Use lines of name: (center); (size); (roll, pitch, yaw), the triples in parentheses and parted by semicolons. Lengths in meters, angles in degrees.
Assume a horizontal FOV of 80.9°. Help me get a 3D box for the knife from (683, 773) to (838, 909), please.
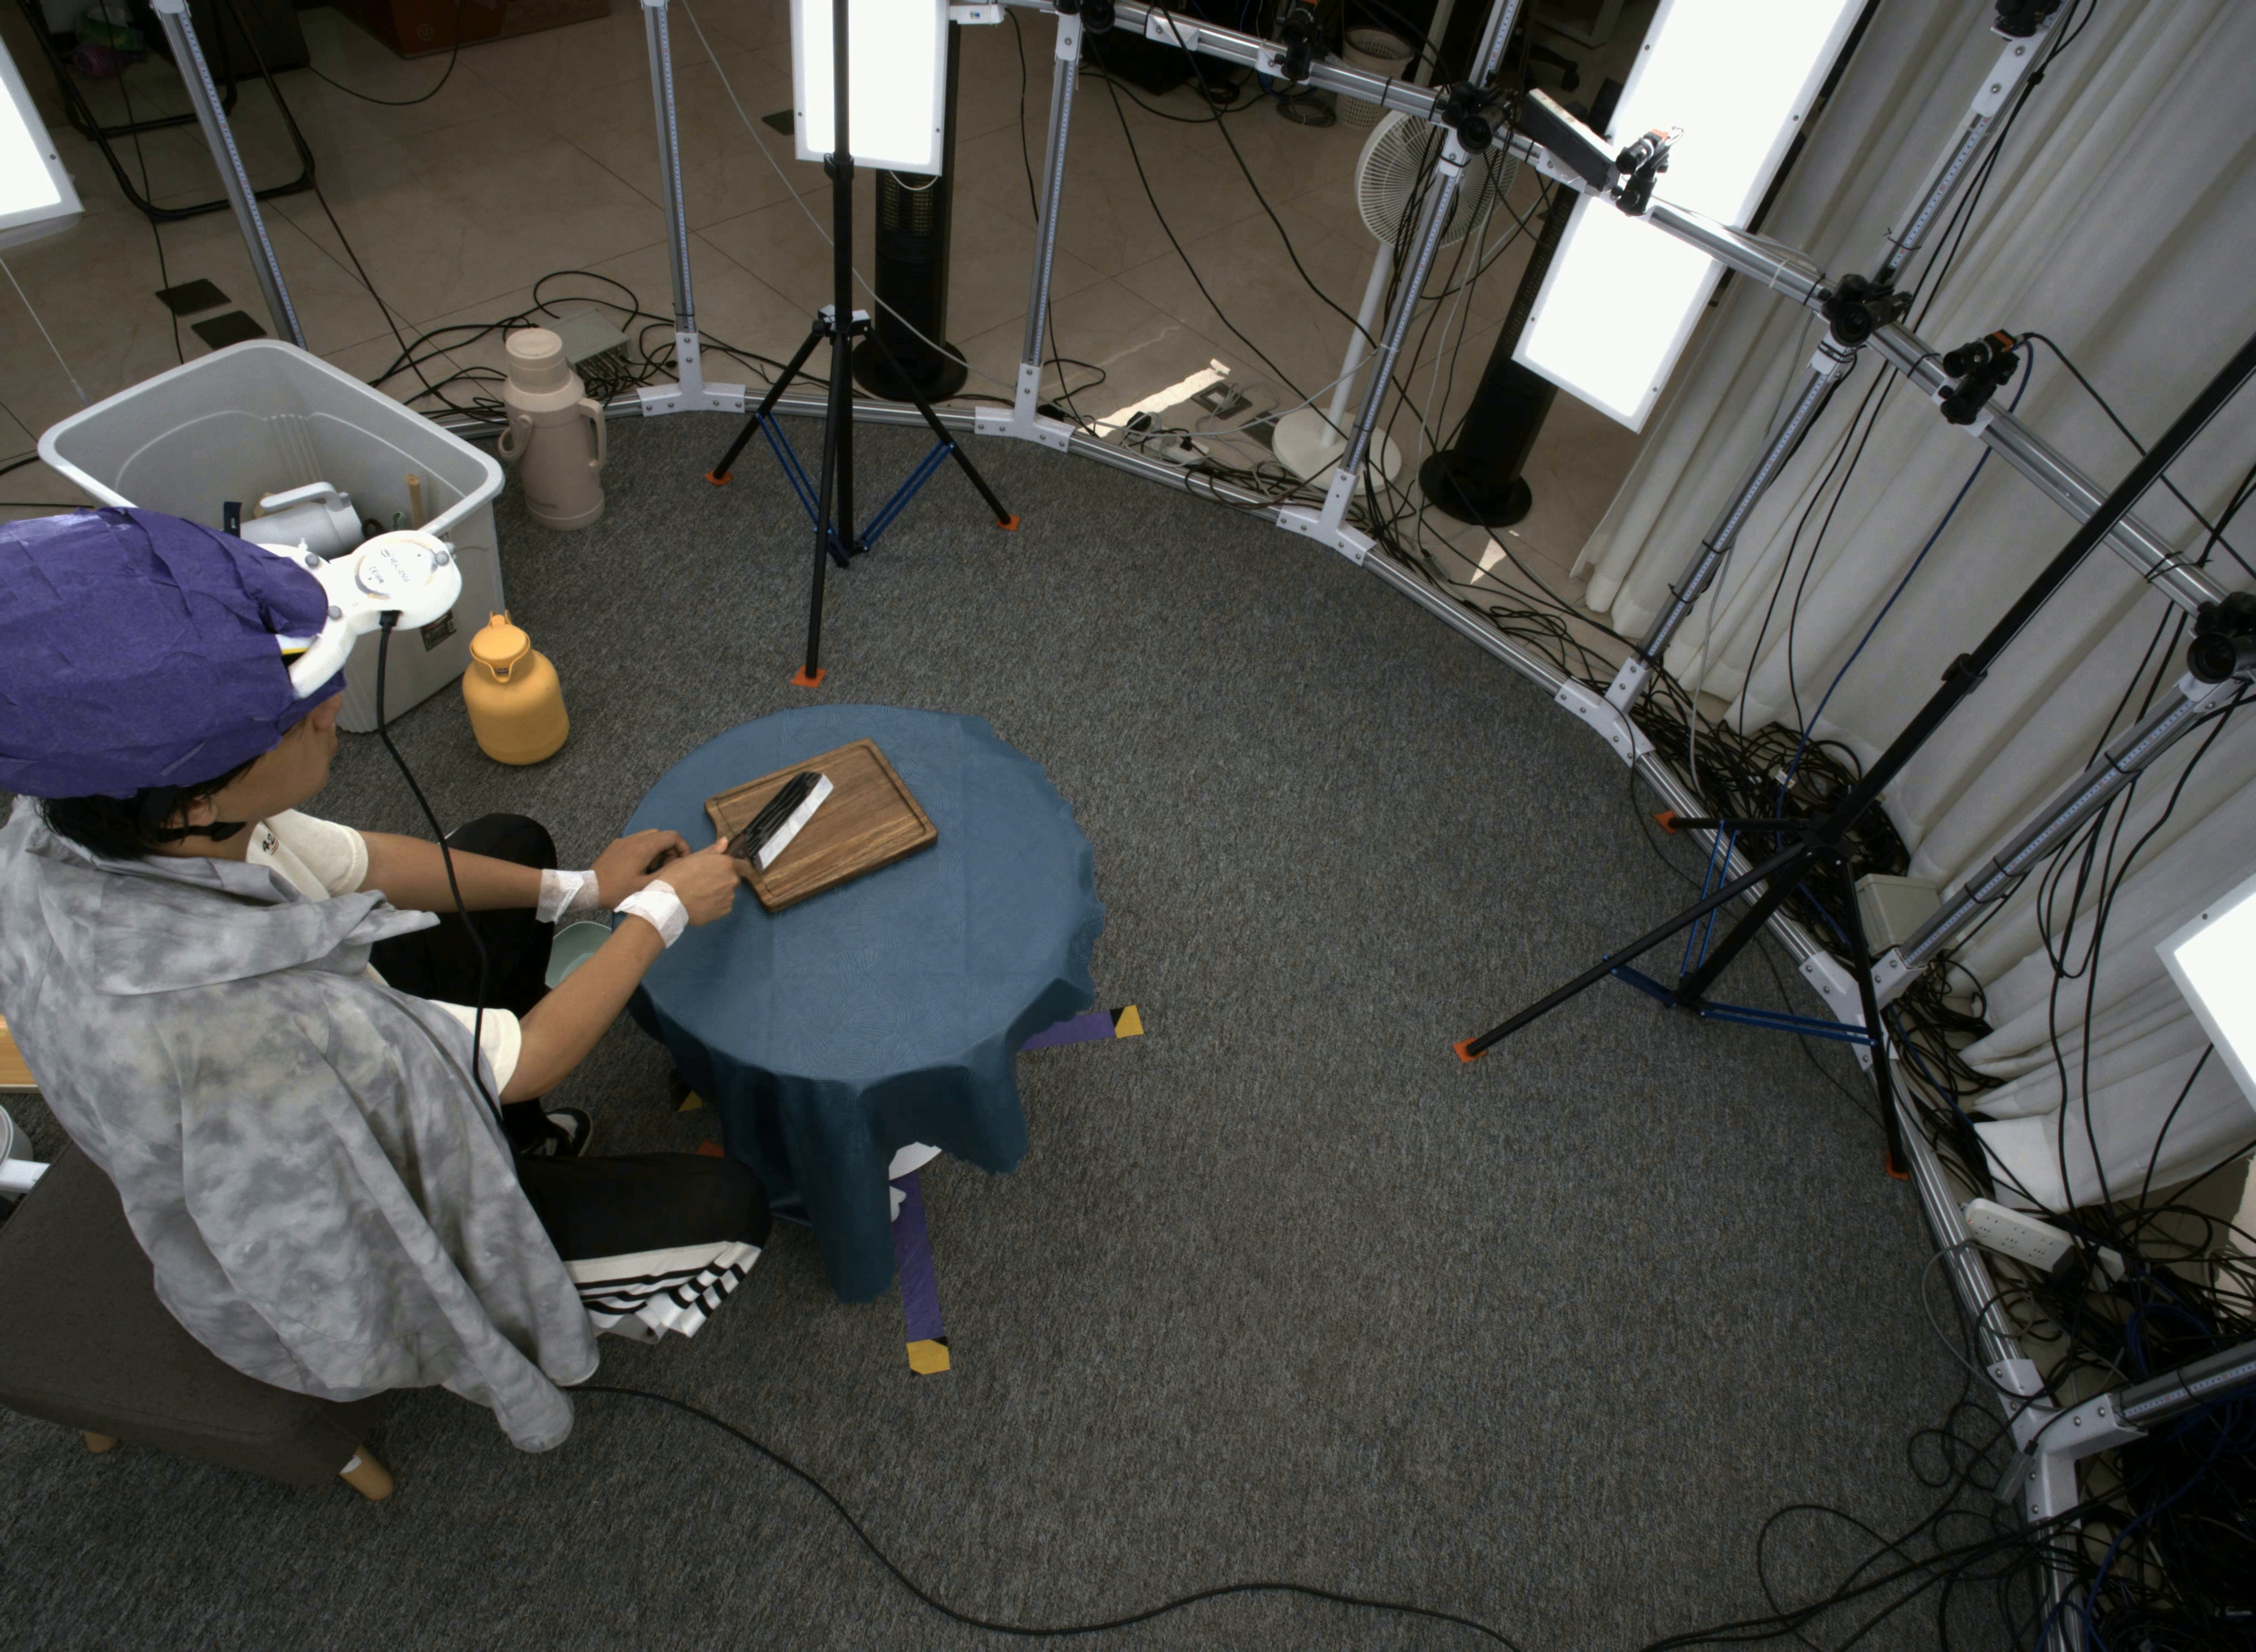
knife: (-0.454, 0.020, 1.626); (0.023, 0.070, 0.298); (7, 40, 25)

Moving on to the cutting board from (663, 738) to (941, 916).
cutting board: (-0.442, 0.012, 1.699); (0.353, 0.023, 0.196); (-25, 63, -28)
